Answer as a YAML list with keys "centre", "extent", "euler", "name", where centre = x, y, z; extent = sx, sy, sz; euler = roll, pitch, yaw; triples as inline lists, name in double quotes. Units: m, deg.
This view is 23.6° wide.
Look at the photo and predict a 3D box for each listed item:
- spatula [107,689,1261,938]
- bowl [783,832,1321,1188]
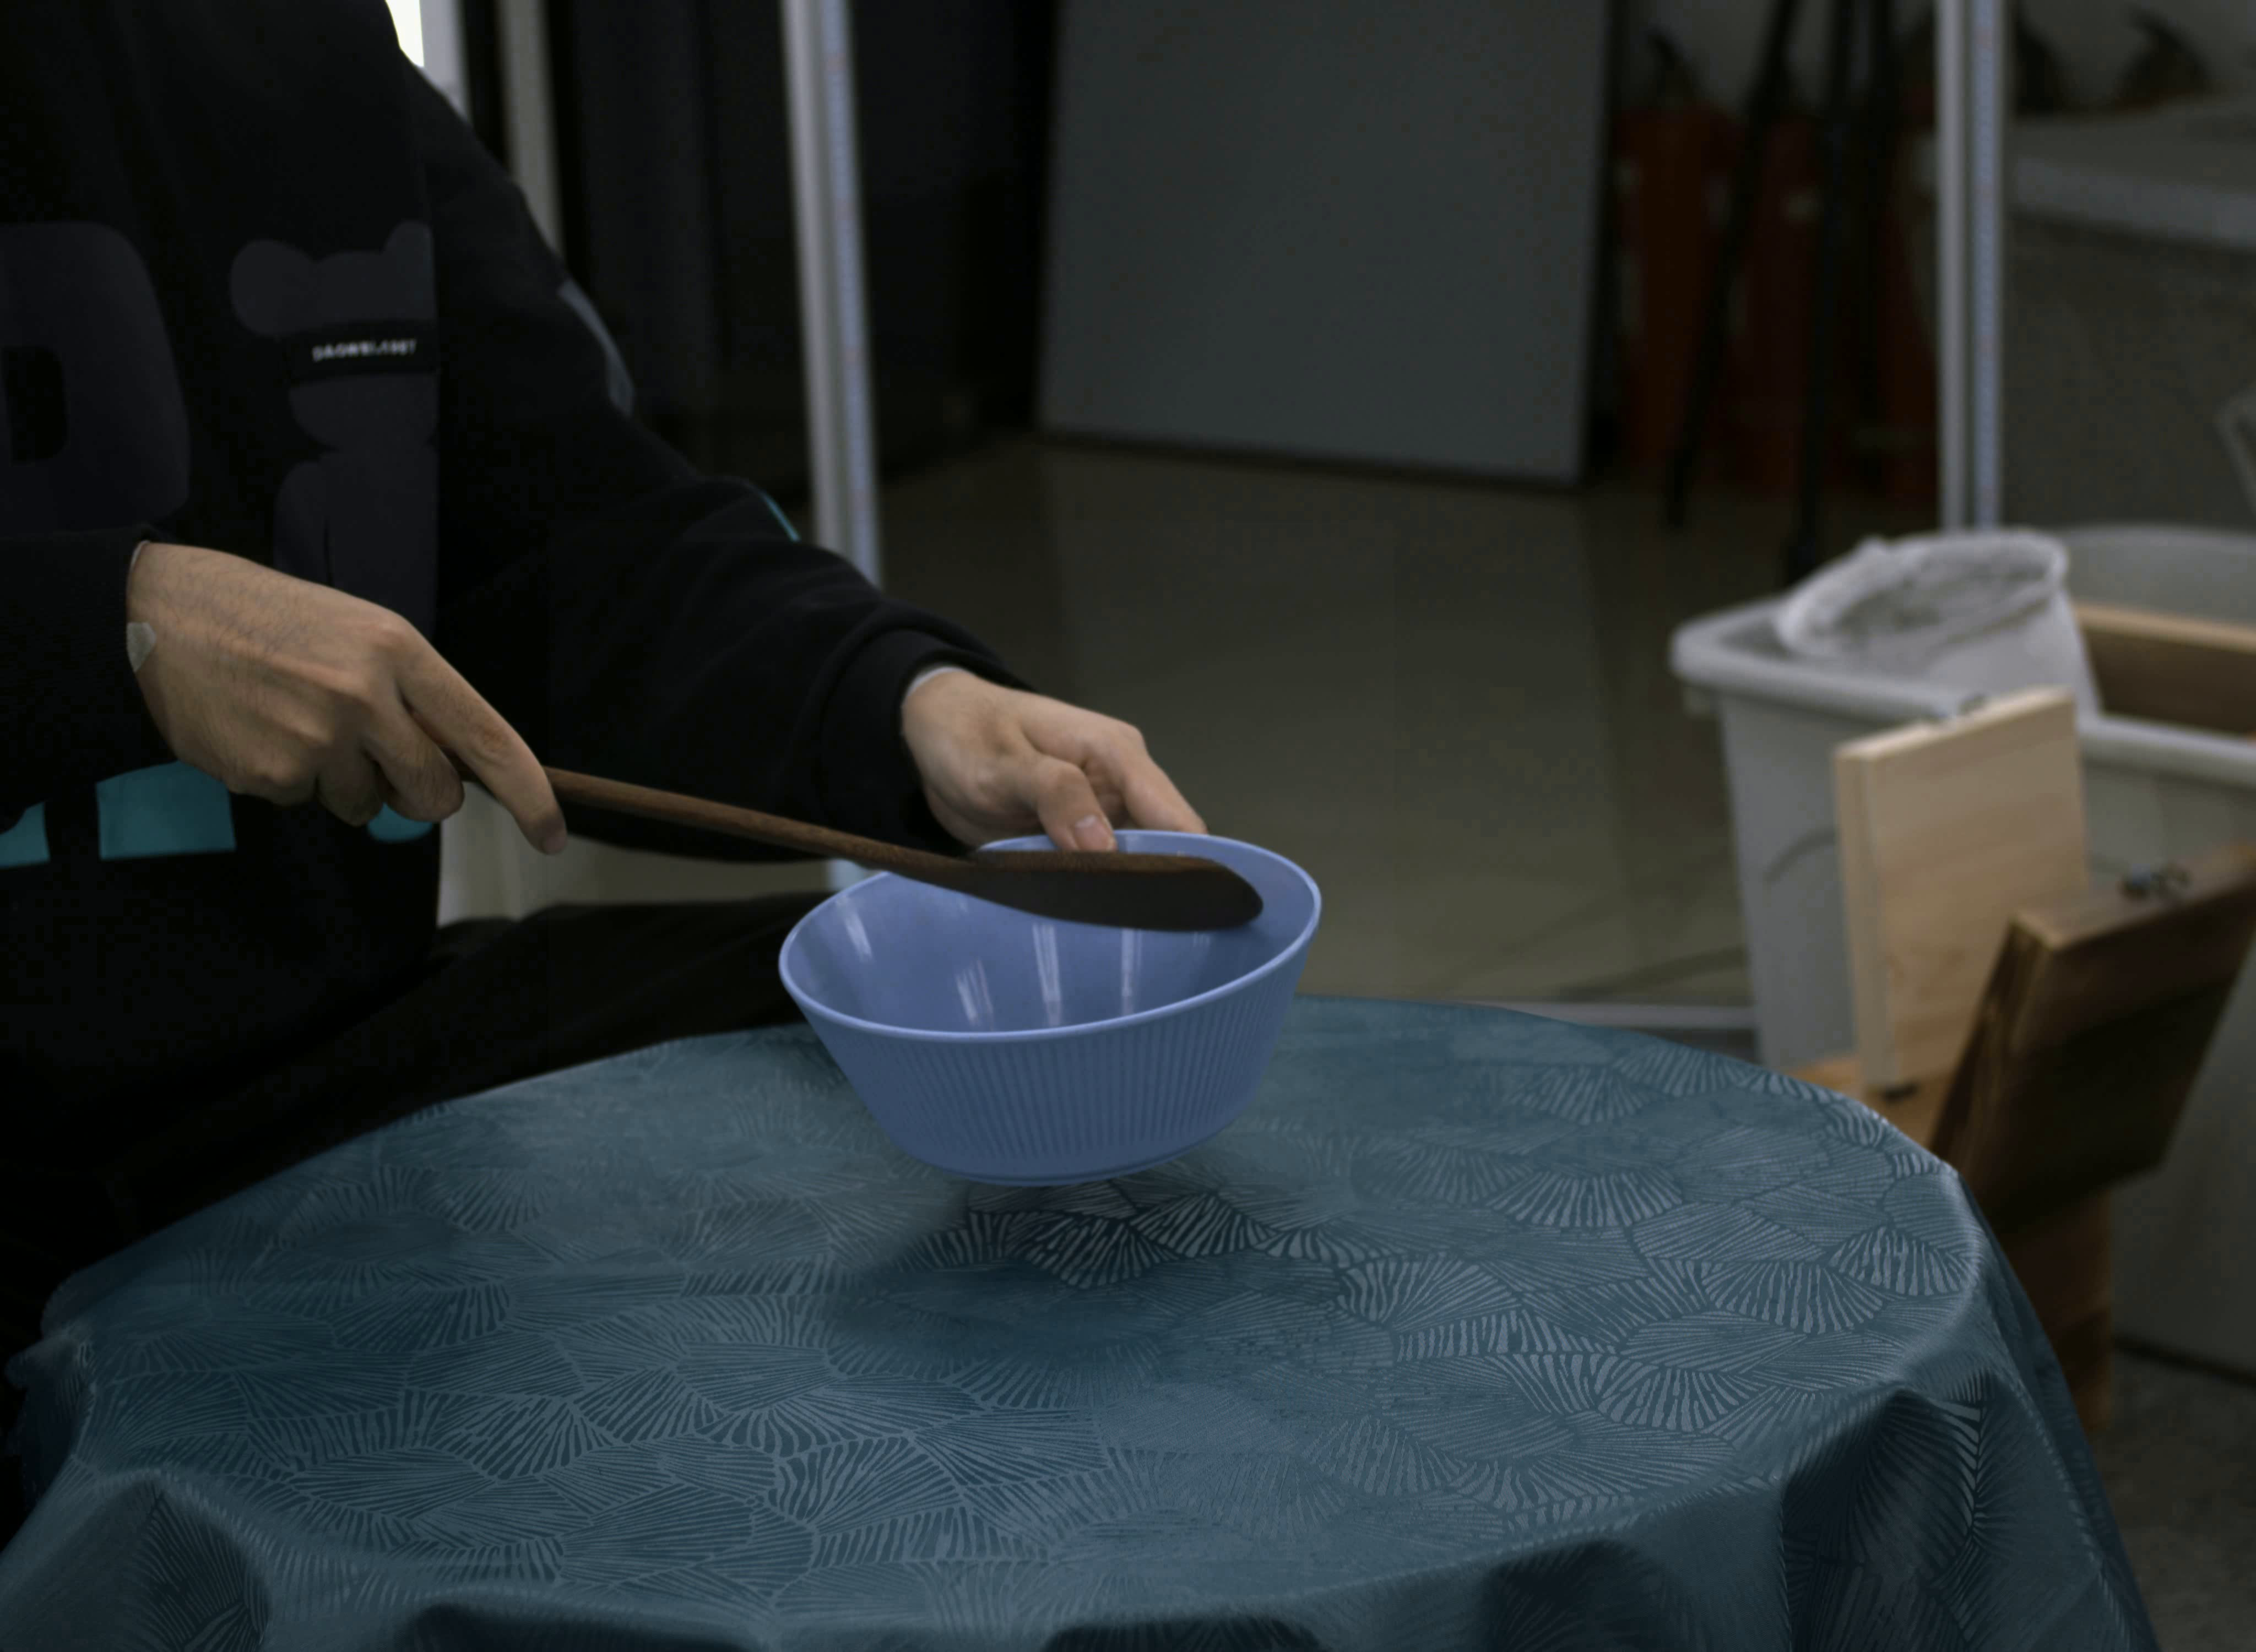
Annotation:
- centre: [-0.144, -0.005, 1.743]
  extent: [0.383, 0.016, 0.096]
  euler: [11, -12, 8]
  name: "spatula"
- centre: [-0.020, 0.063, 1.722]
  extent: [0.174, 0.071, 0.176]
  euler: [-8, 18, 2]
  name: "bowl"
